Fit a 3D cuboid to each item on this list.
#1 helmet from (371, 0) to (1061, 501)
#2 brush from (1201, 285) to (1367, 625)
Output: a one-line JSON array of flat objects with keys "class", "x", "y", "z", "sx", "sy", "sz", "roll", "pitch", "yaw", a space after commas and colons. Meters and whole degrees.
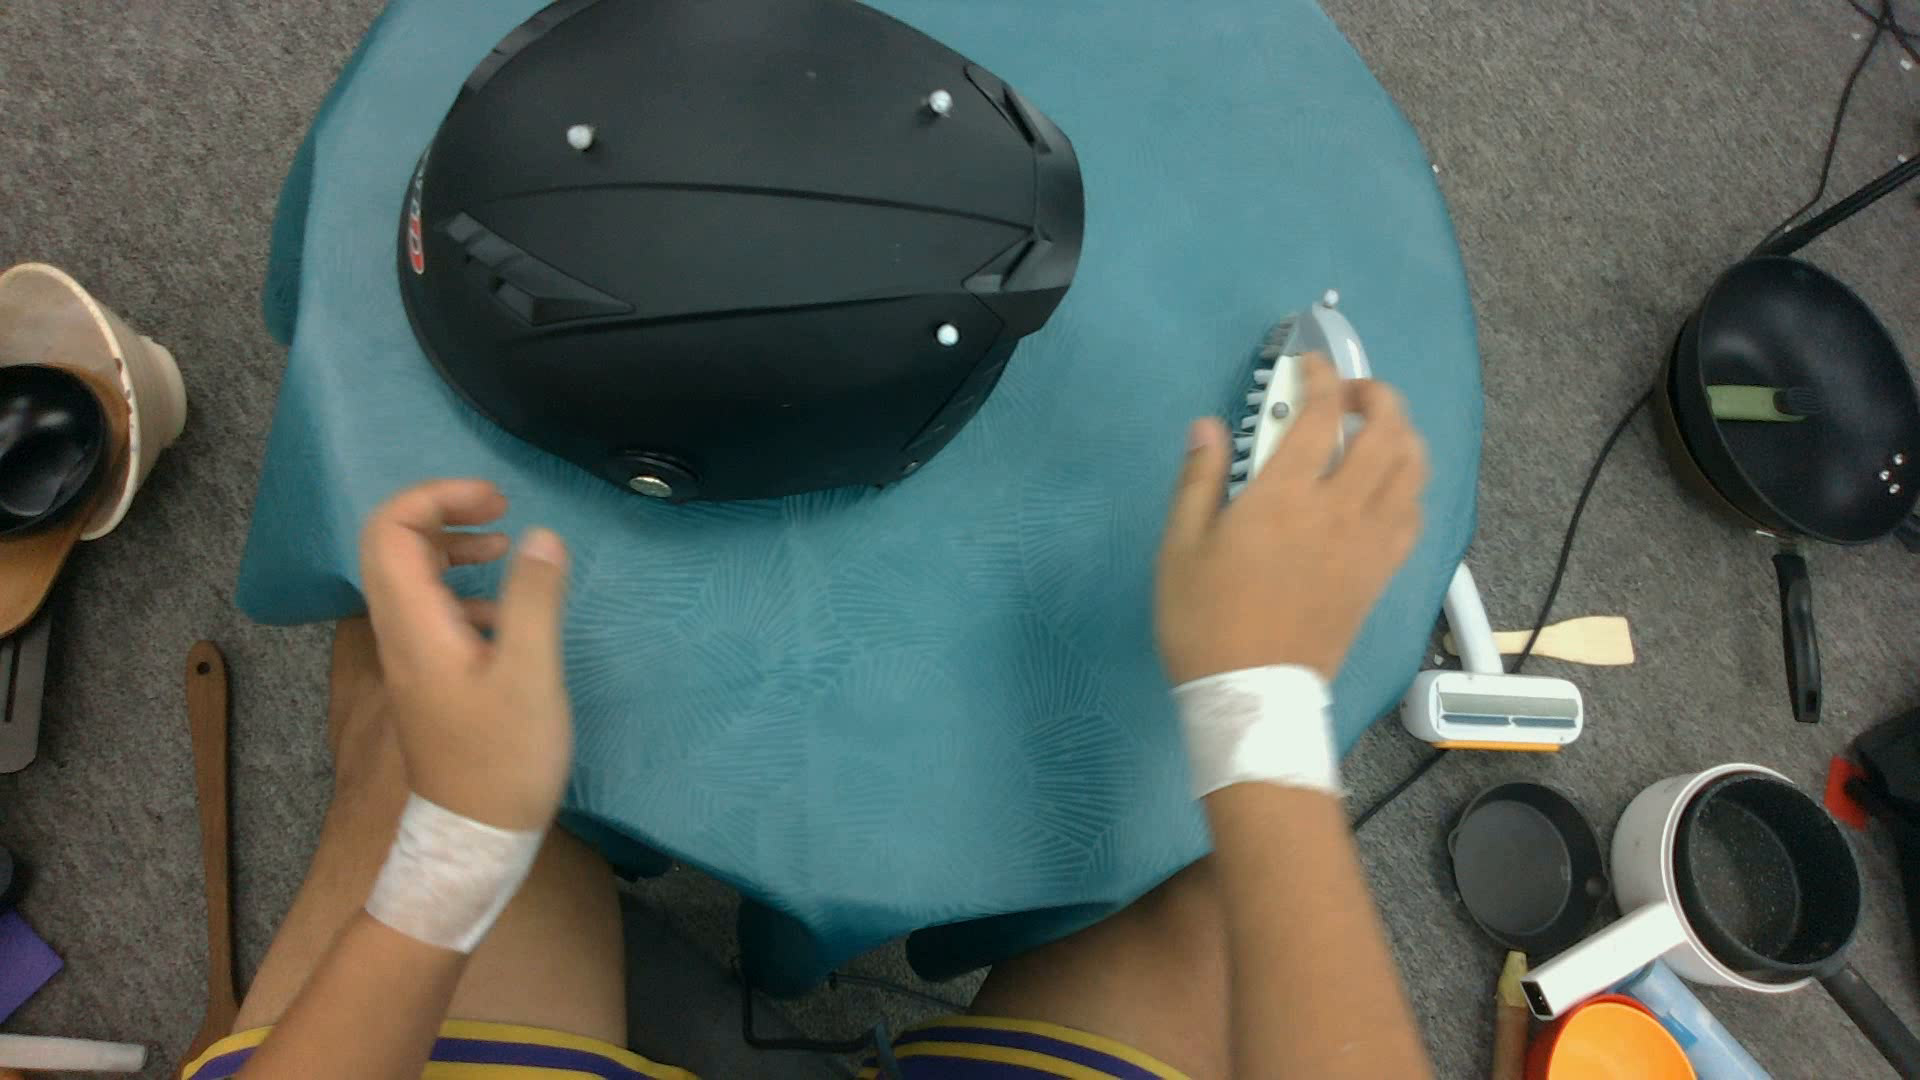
[{"class": "helmet", "x": -0.102, "y": -0.147, "z": 0.586, "sx": 0.277, "sy": 0.172, "sz": 0.247, "roll": 6, "pitch": 73, "yaw": -18}, {"class": "brush", "x": 0.161, "y": -0.053, "z": 0.670, "sx": 0.061, "sy": 0.094, "sz": 0.176, "roll": 9, "pitch": 71, "yaw": -14}]
